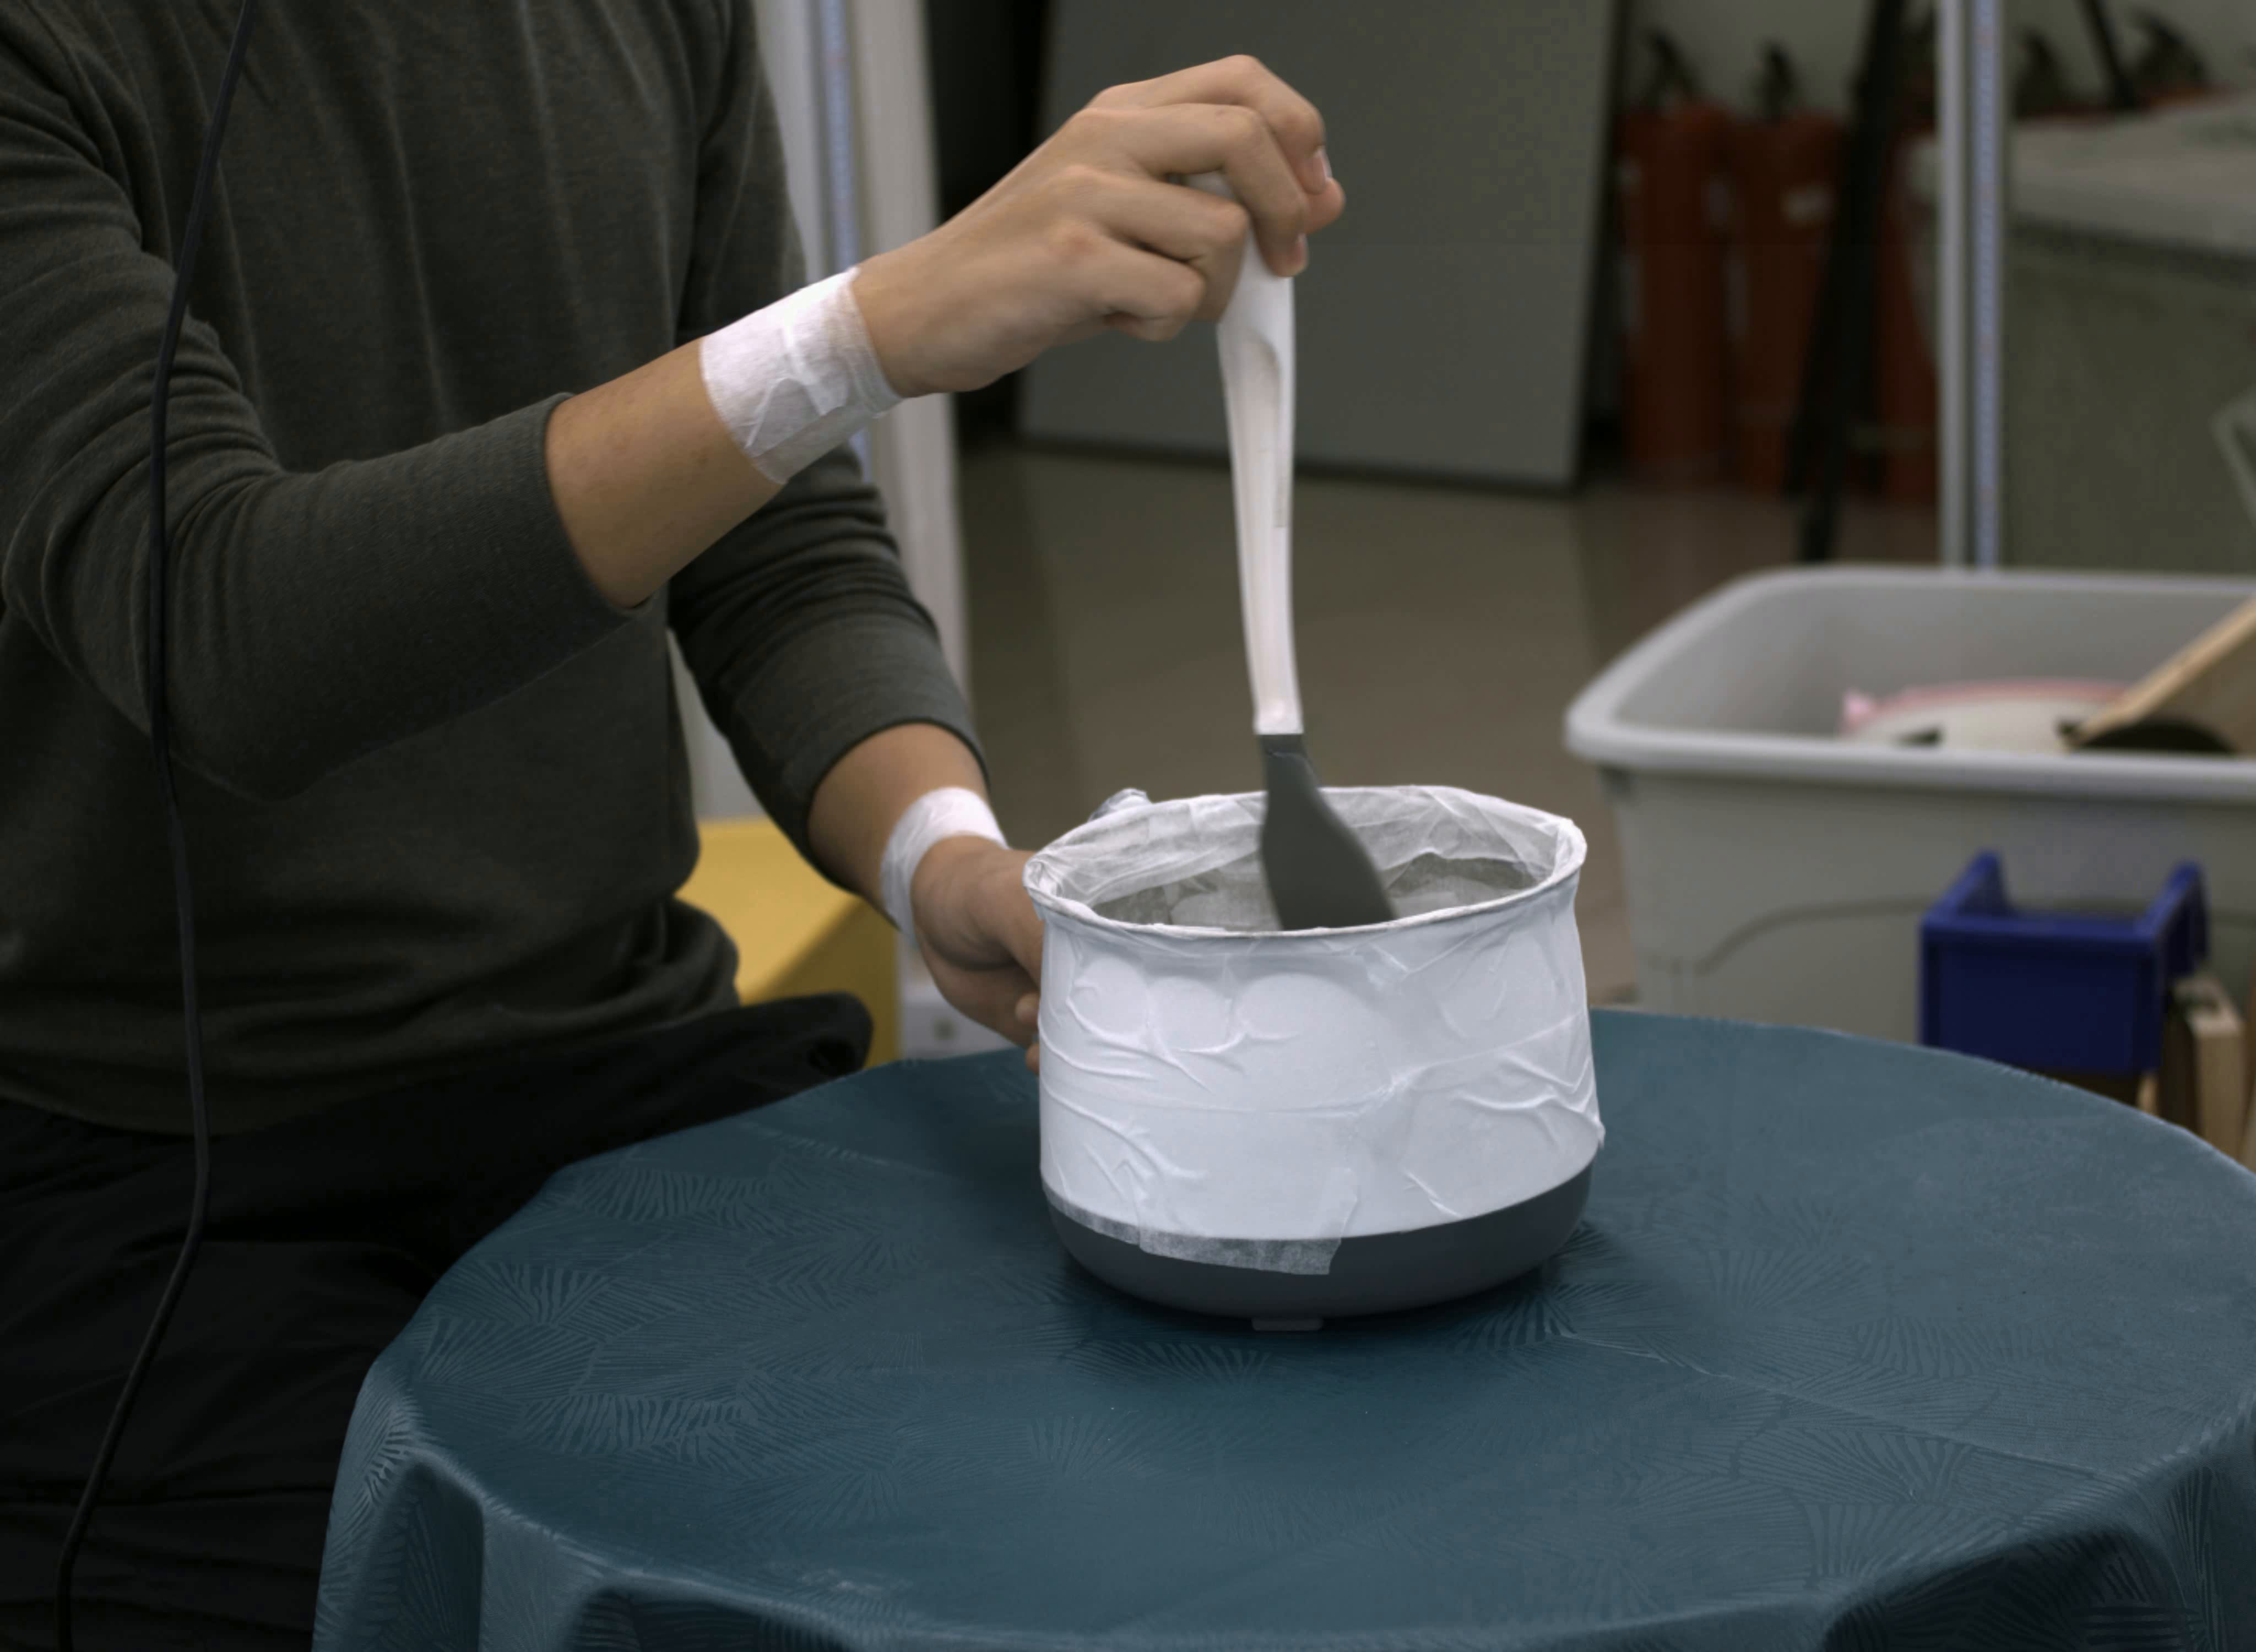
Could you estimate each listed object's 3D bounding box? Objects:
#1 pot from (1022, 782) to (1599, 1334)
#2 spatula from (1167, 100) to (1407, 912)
[{"bbox_3d":[0.042,0.066,1.701,0.175,0.138,0.236,-12,15,-32],"label":"pot"},{"bbox_3d":[0.052,-0.070,1.617,0.059,0.291,0.031,-2,11,46],"label":"spatula"}]
